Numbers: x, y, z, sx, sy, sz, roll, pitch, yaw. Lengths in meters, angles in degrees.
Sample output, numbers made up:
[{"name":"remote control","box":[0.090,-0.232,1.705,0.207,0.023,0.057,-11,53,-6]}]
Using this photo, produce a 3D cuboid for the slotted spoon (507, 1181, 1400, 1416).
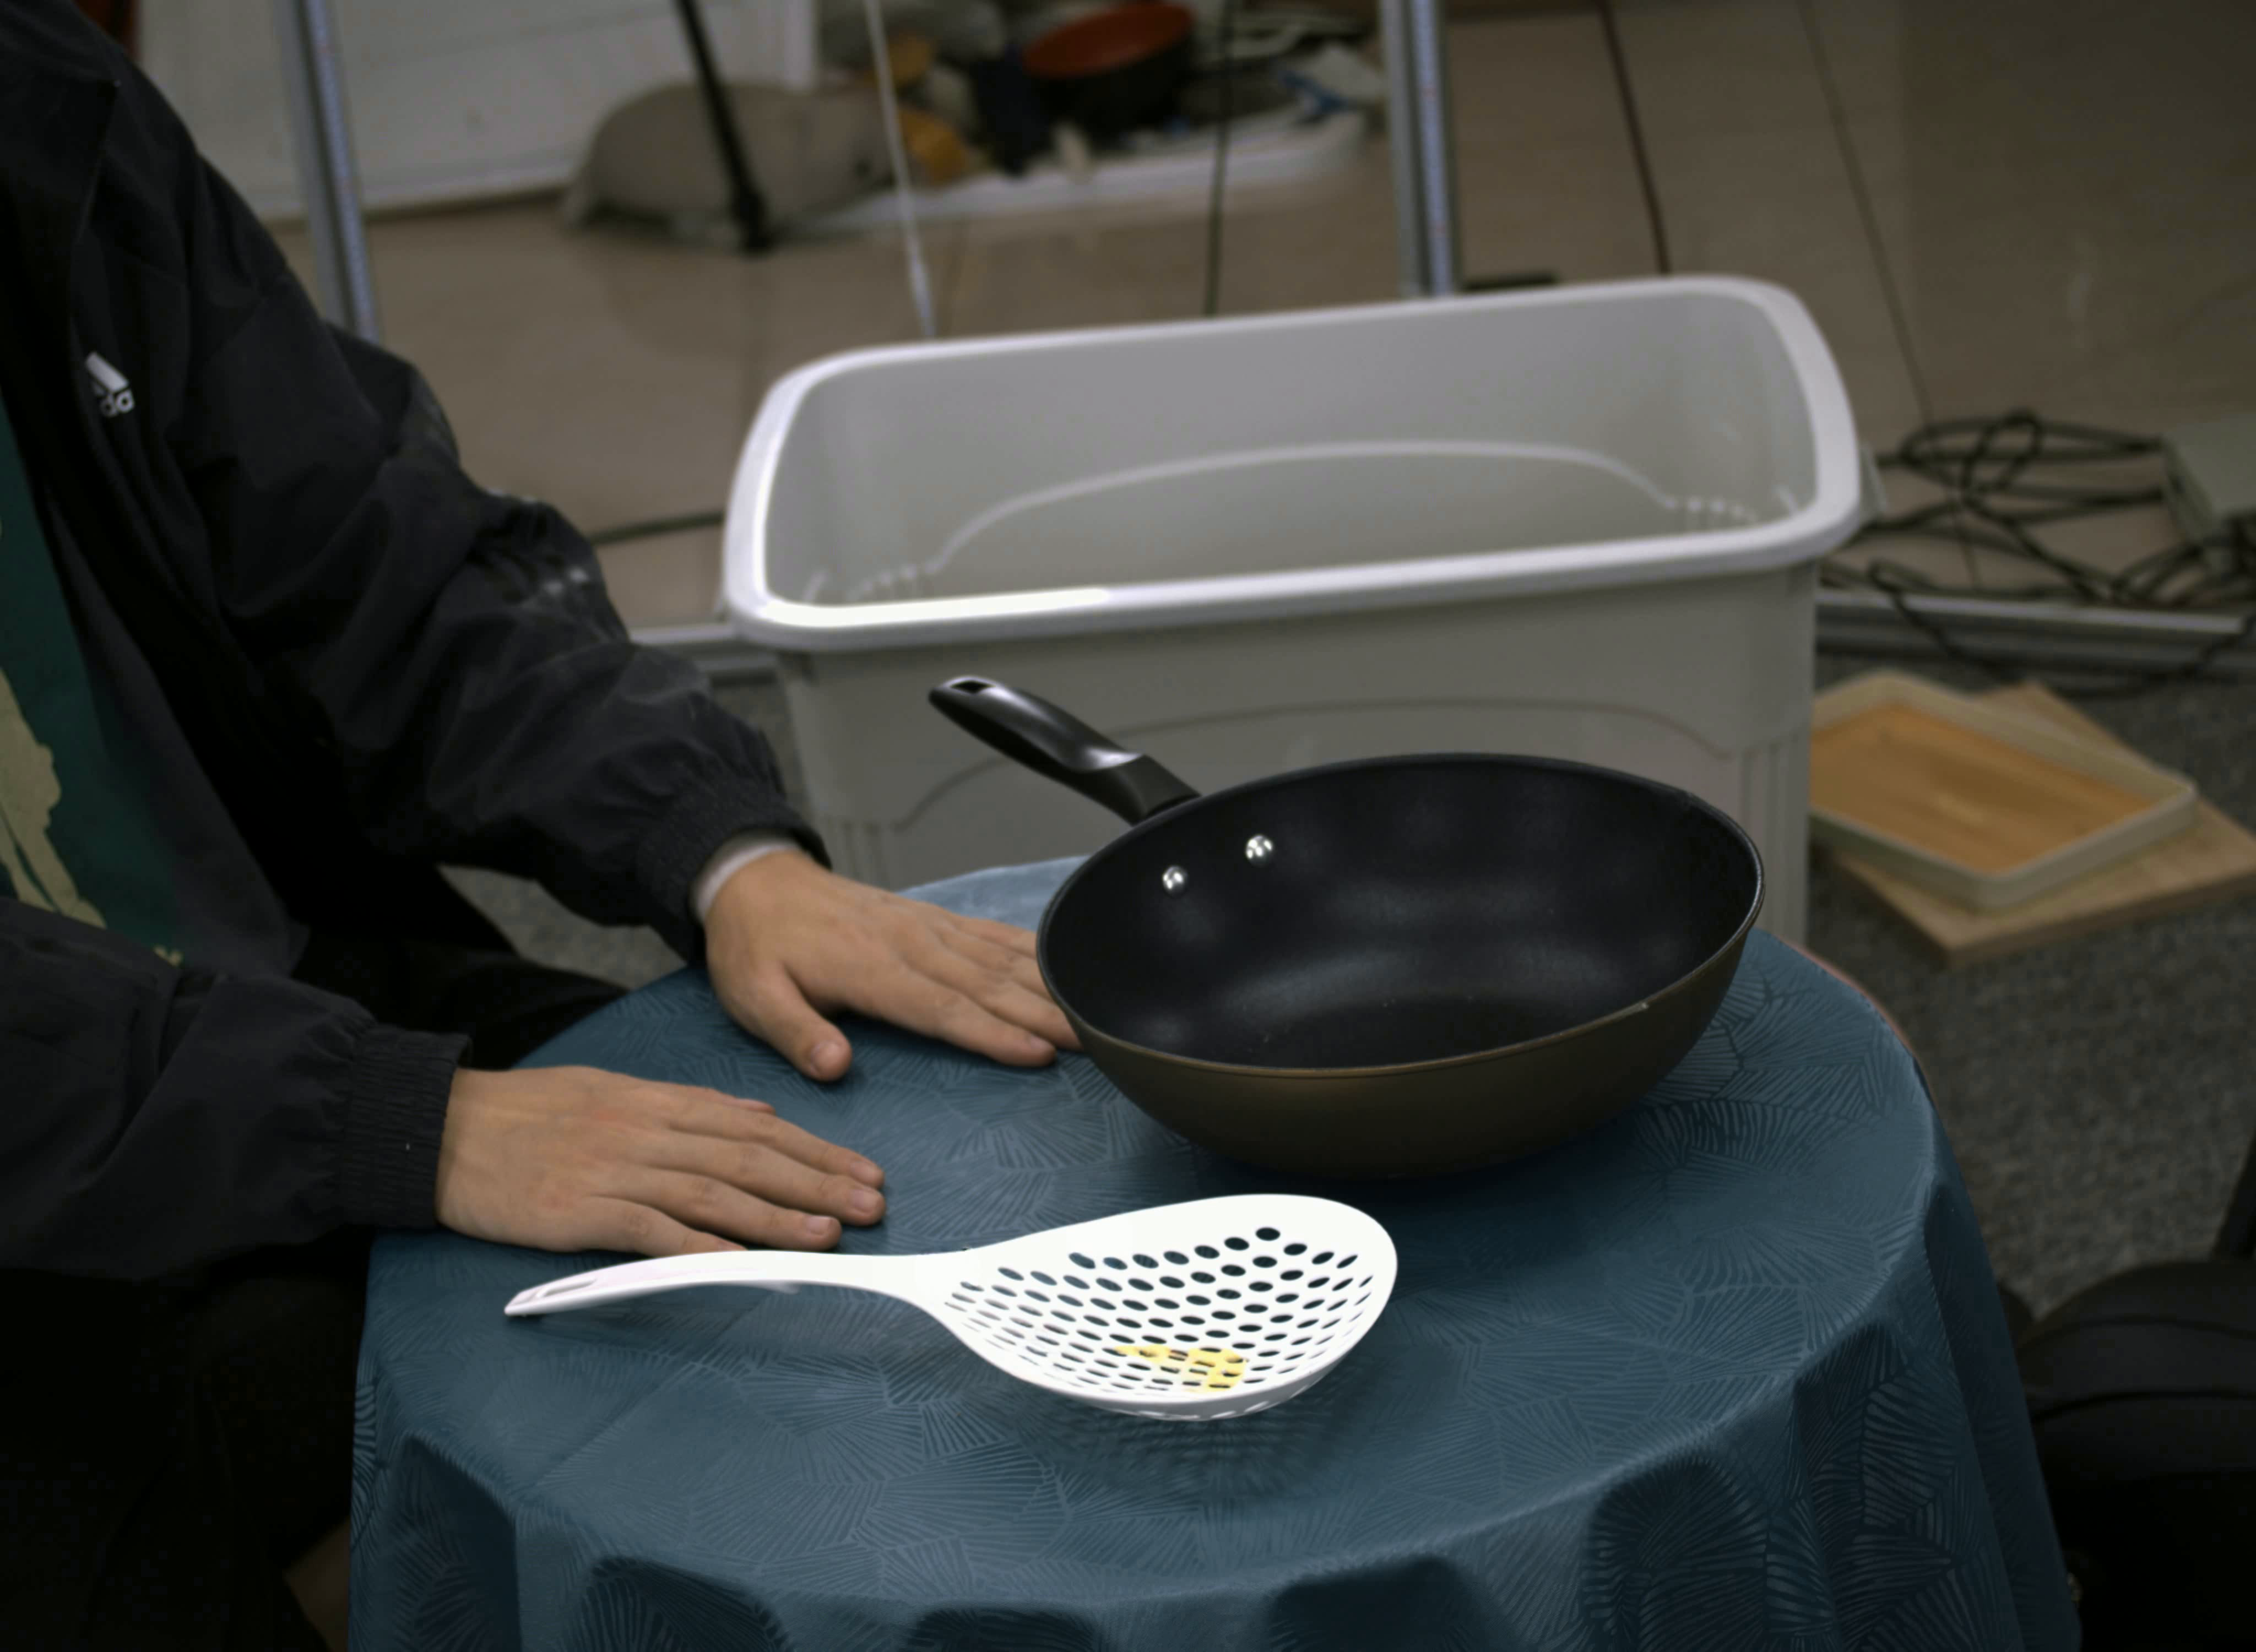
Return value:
[{"name":"slotted spoon","box":[-0.069,0.172,2.043,0.347,0.051,0.135,4,30,22]}]

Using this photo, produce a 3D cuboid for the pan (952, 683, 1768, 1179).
[{"name":"pan","box":[0.057,0.039,2.251,0.286,0.088,0.459,-21,27,-28]}]
